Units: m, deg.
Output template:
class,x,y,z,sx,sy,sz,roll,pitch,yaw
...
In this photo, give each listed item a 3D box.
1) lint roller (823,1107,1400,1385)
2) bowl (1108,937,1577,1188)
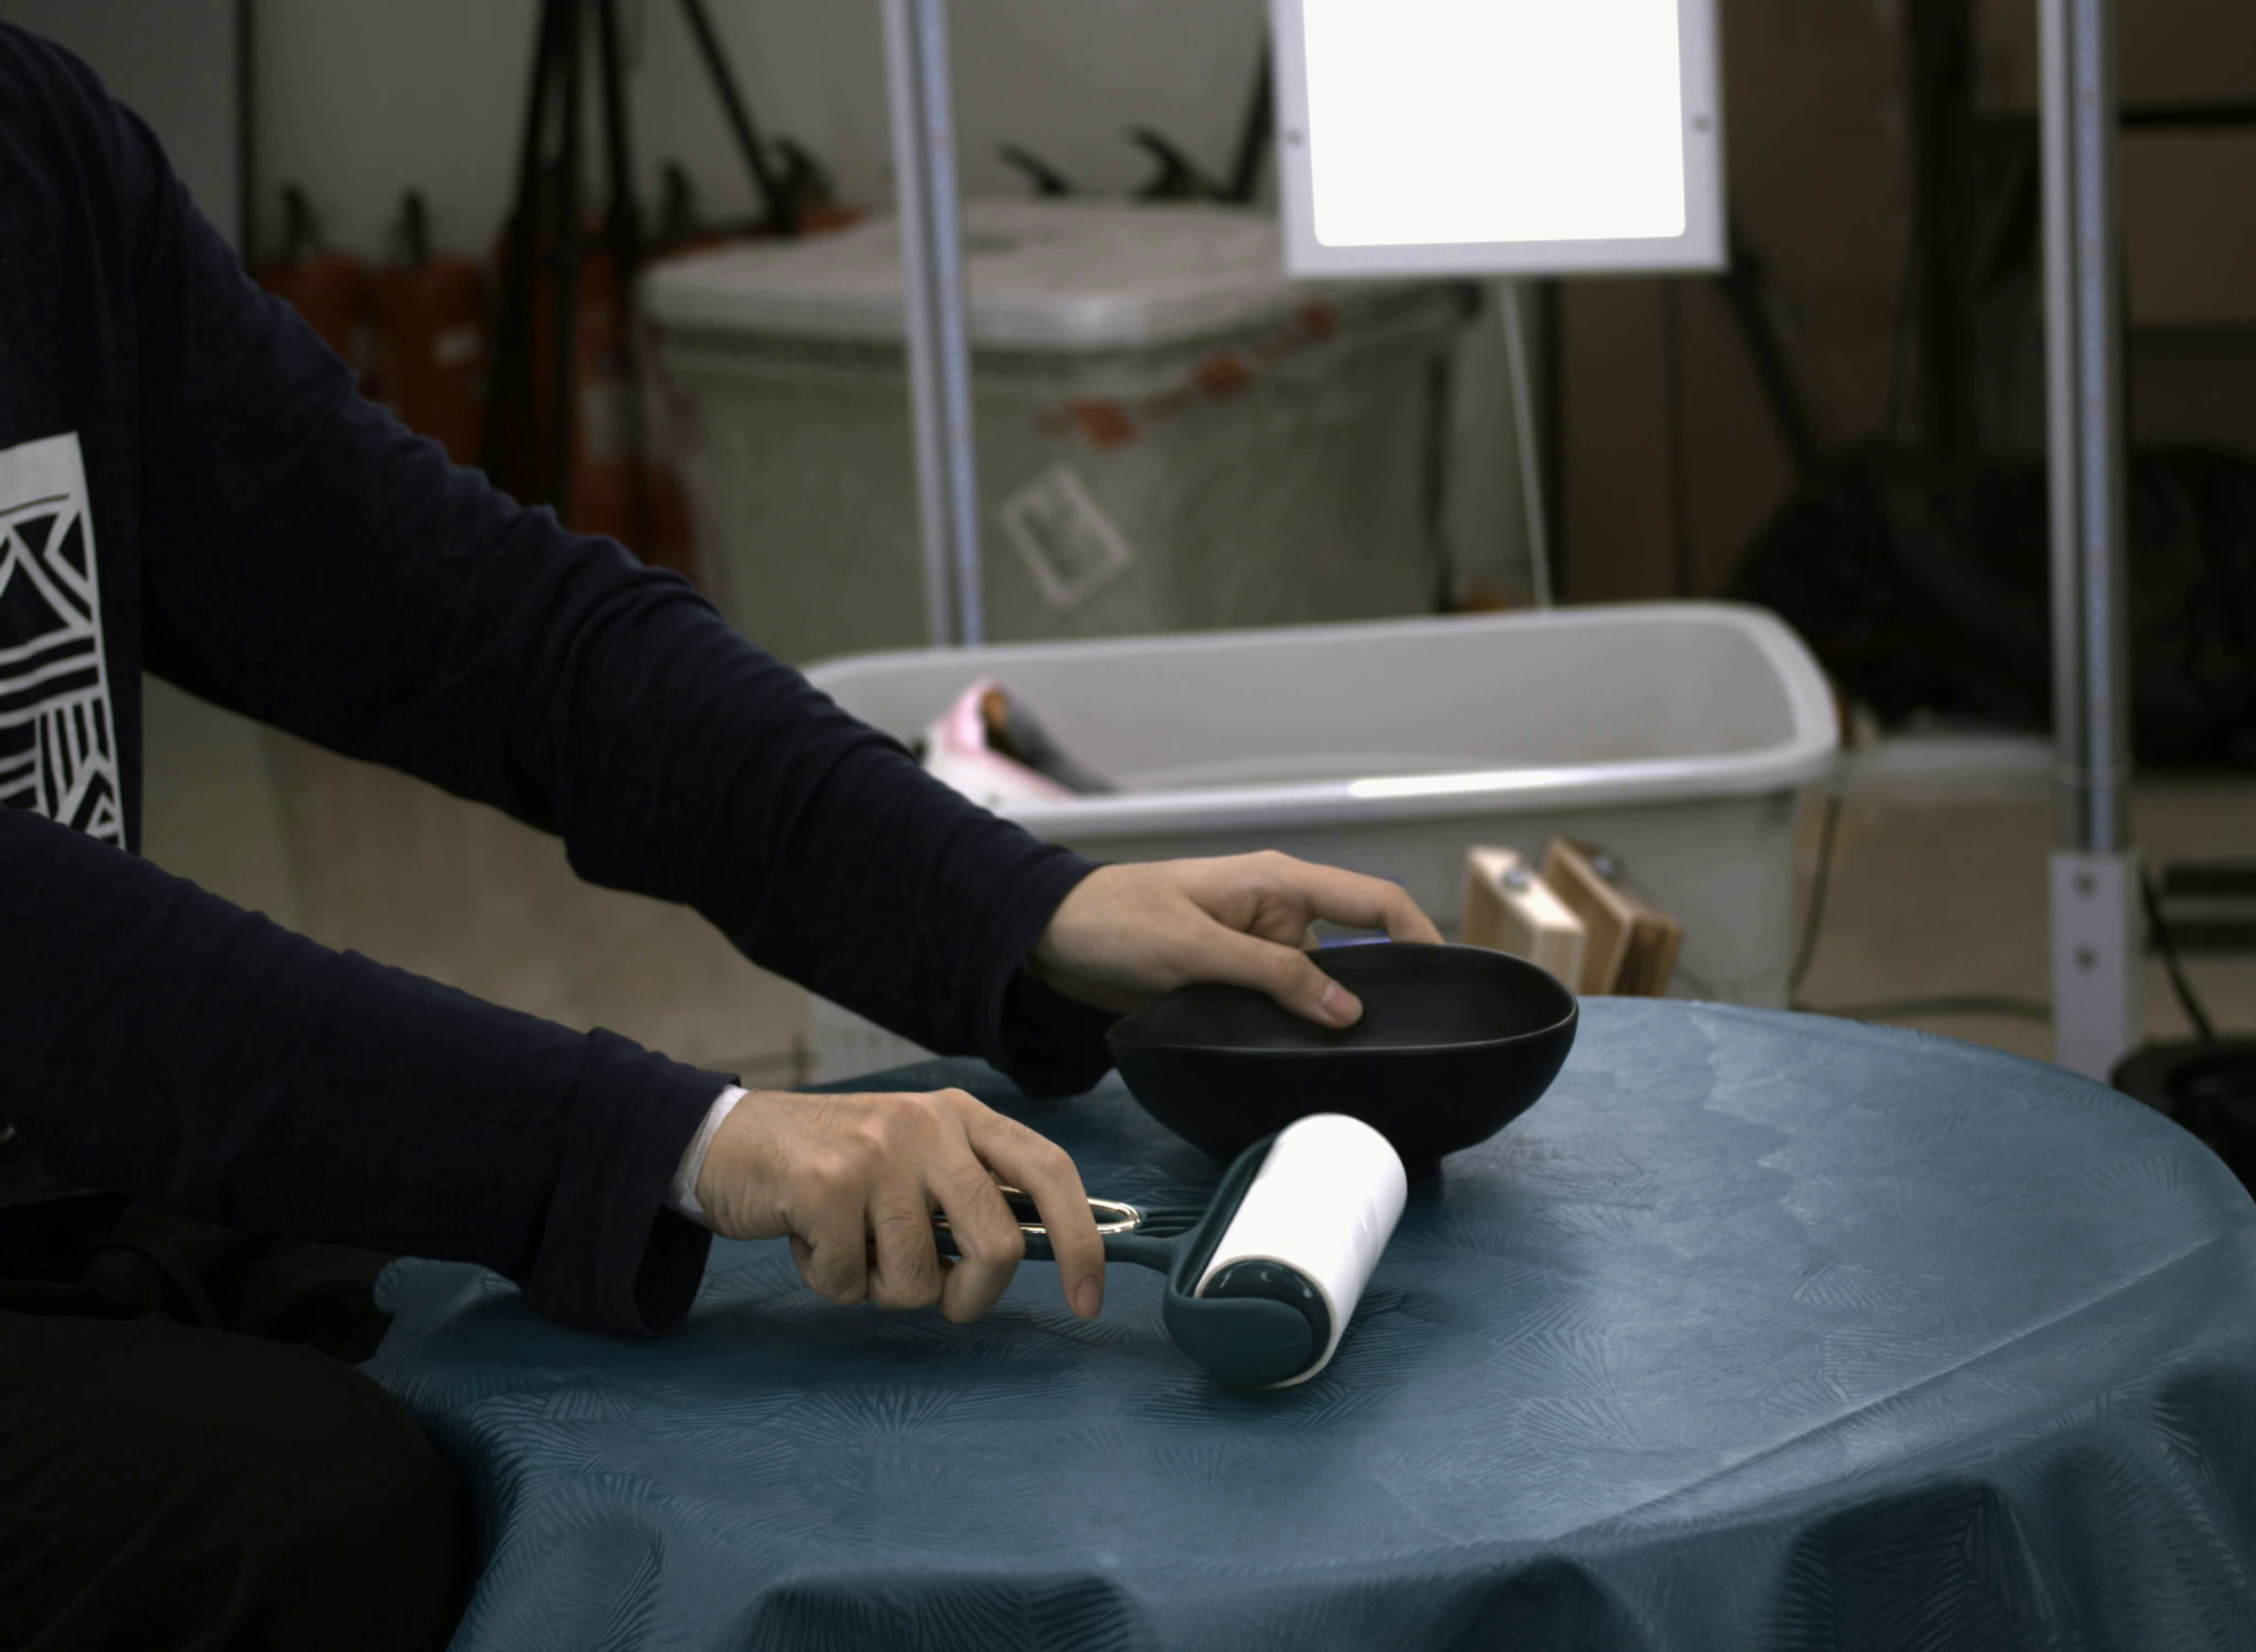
class,x,y,z,sx,sy,sz,roll,pitch,yaw
lint roller,-0.011,0.124,1.746,0.182,0.048,0.132,6,26,15
bowl,0.074,0.088,1.899,0.173,0.067,0.134,0,14,25
